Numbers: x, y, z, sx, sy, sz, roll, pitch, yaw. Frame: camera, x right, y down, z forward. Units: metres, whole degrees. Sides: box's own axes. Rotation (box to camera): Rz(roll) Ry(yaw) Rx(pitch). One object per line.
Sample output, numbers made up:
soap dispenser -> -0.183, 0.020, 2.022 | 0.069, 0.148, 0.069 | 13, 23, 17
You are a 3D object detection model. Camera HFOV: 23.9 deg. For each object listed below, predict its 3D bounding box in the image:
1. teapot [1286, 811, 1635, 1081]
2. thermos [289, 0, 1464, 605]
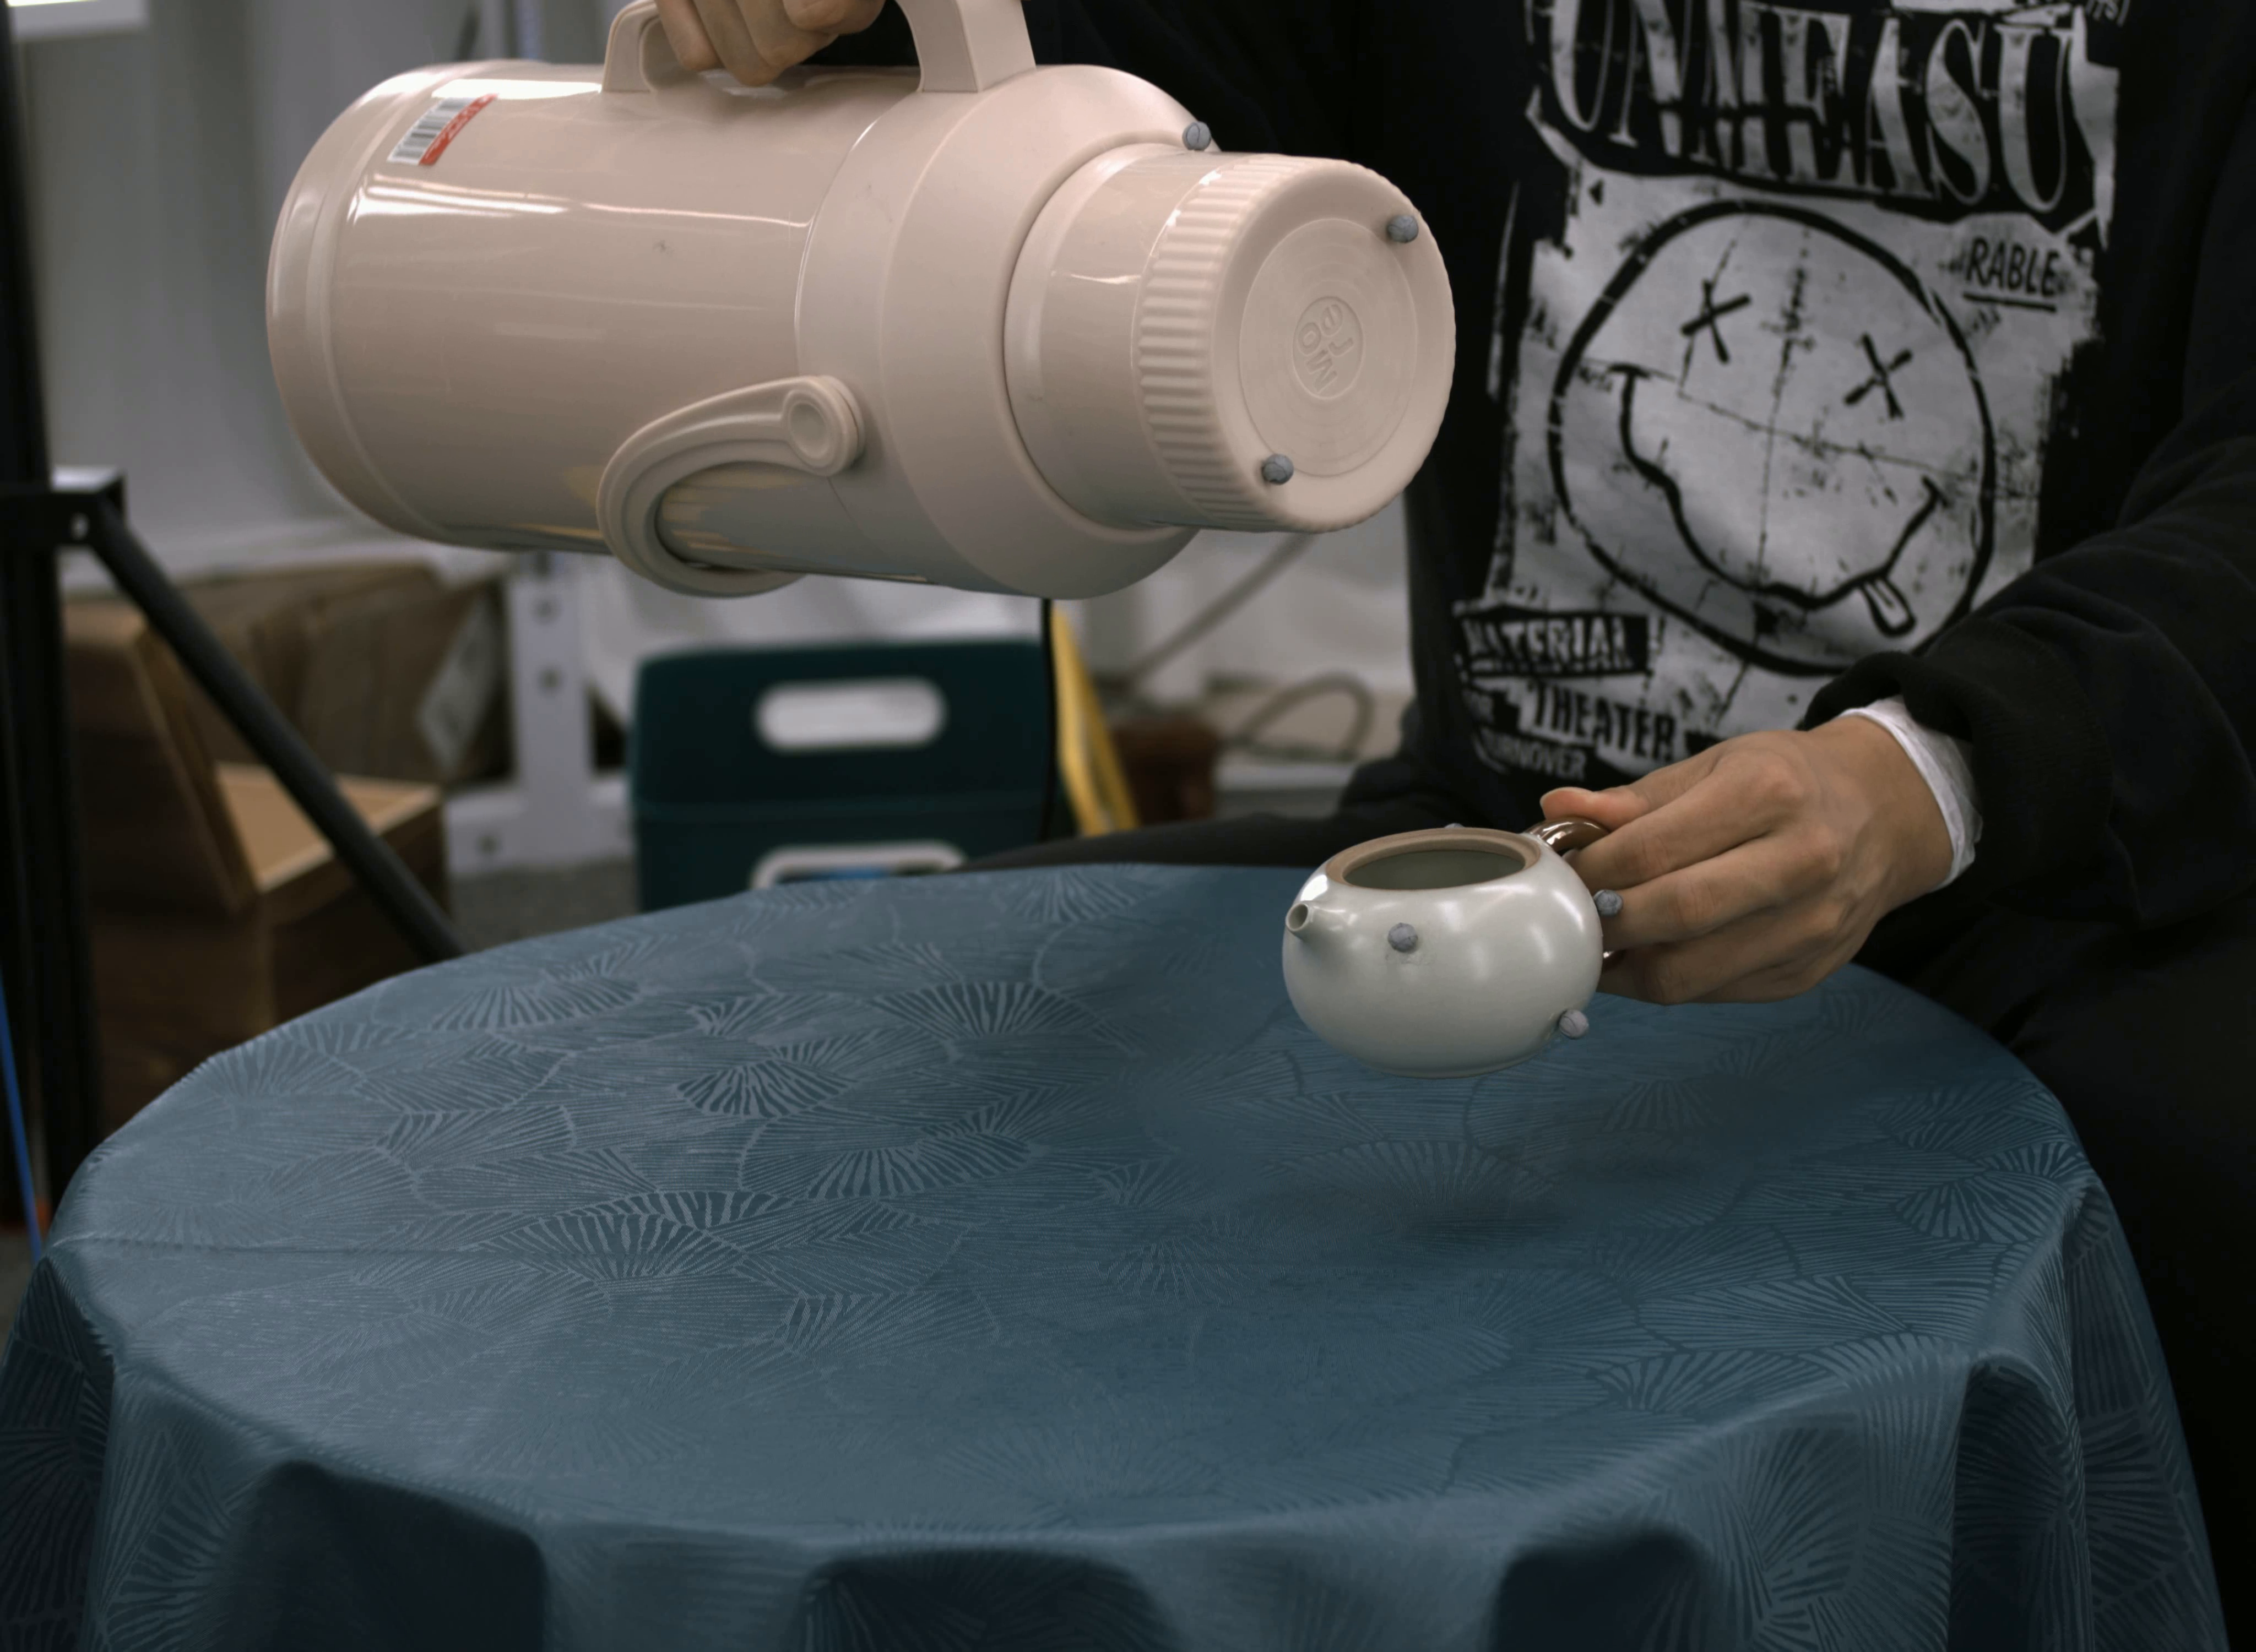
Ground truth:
teapot -> 0.098, 0.034, 1.511 | 0.125, 0.059, 0.094 | -19, 17, -36
thermos -> -0.081, -0.166, 1.621 | 0.172, 0.206, 0.415 | -28, 23, -36
